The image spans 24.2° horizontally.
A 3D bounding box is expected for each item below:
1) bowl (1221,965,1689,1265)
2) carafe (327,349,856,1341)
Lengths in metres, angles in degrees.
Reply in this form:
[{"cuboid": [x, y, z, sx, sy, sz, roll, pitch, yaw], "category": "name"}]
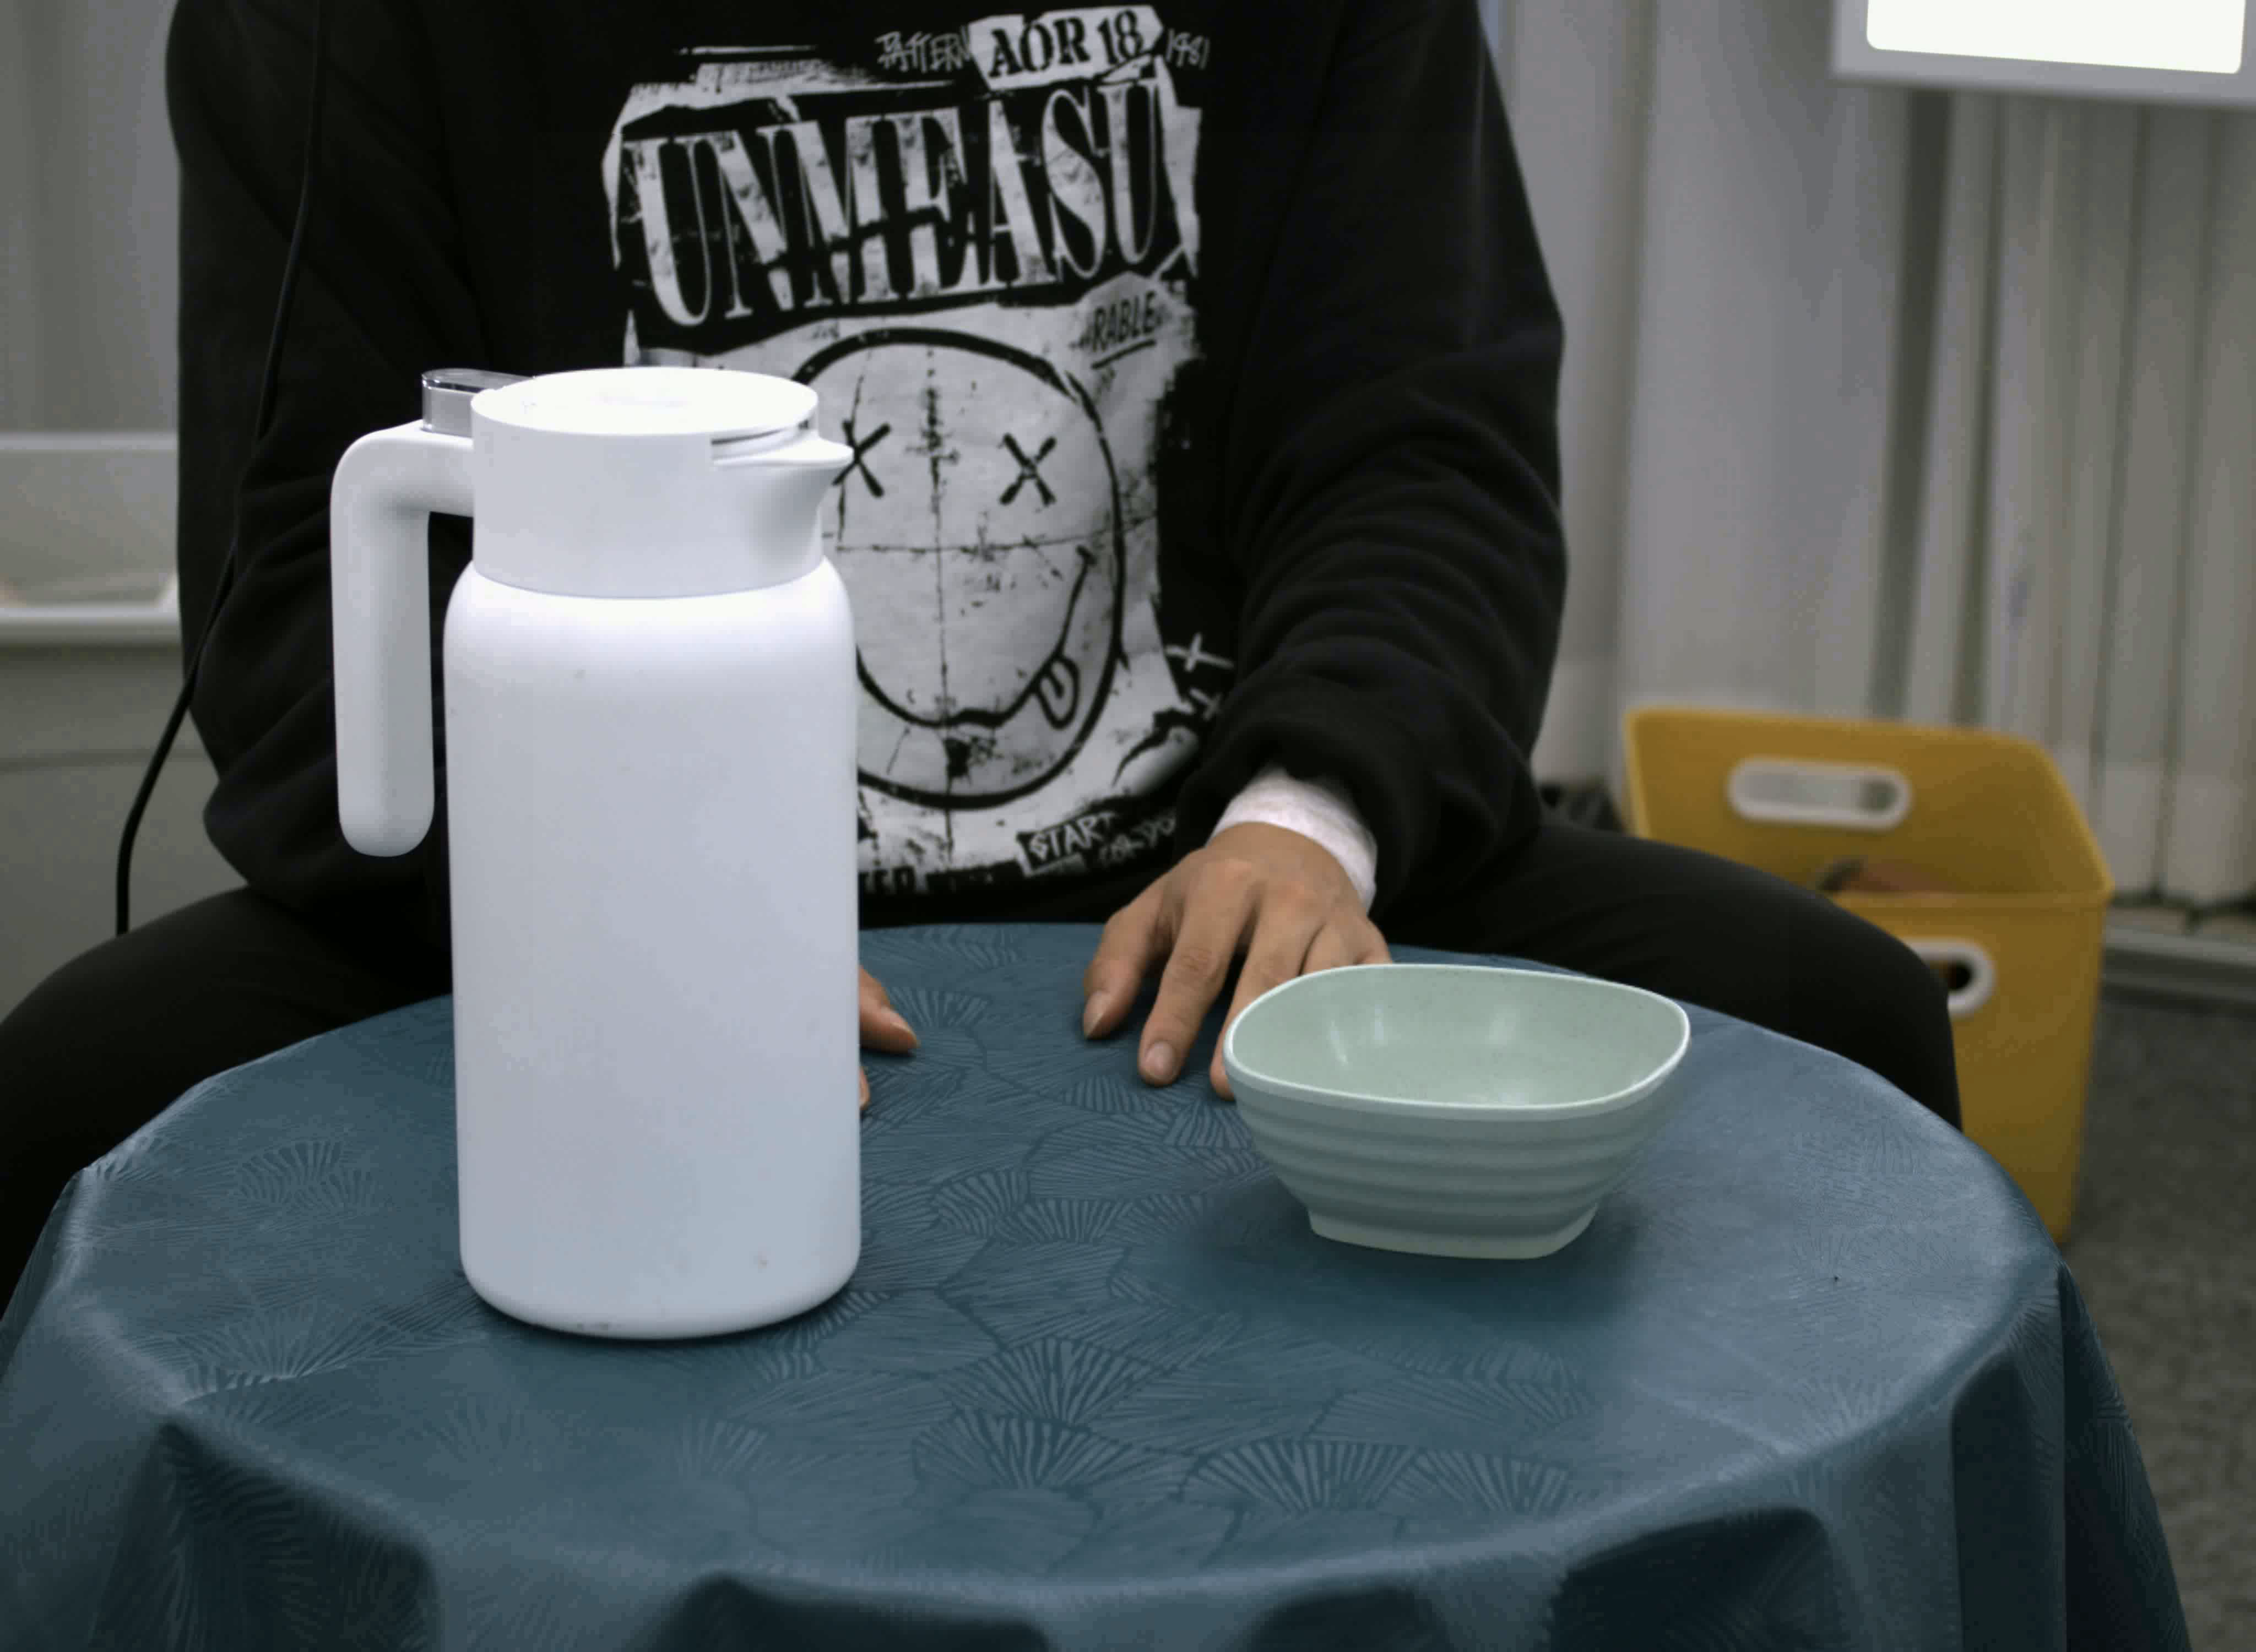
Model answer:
[{"cuboid": [0.099, 0.091, 1.601, 0.151, 0.059, 0.150, 1, 16, 0], "category": "bowl"}, {"cuboid": [-0.153, 0.003, 1.510, 0.171, 0.271, 0.124, 9, 20, 27], "category": "carafe"}]
